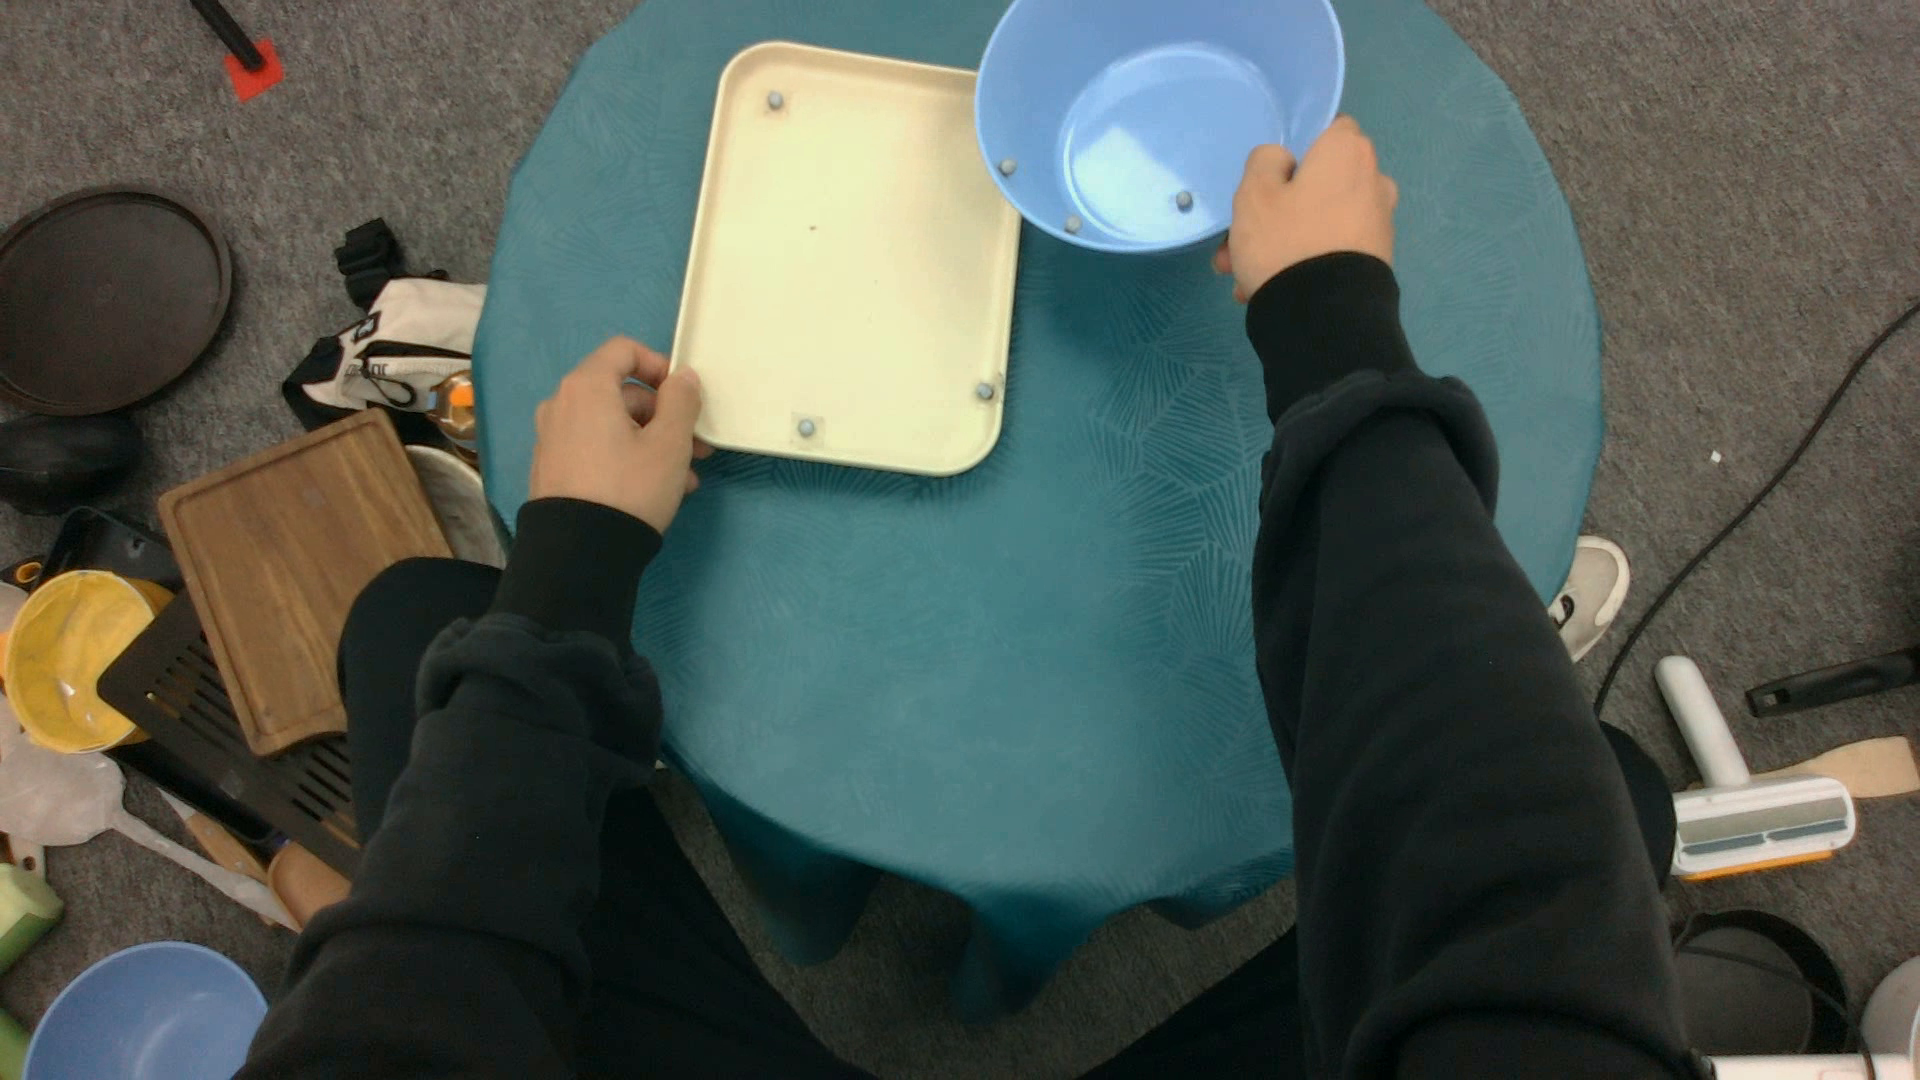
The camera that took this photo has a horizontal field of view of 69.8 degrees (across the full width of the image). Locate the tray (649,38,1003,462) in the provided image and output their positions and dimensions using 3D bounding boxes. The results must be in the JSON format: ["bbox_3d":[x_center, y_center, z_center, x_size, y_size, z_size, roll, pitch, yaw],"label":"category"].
[{"bbox_3d":[-0.064,-0.156,0.728,0.171,0.017,0.240,7,71,-3],"label":"tray"}]

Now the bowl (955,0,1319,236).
[{"bbox_3d":[0.091,-0.220,0.686,0.176,0.070,0.176,-4,75,17],"label":"bowl"}]
